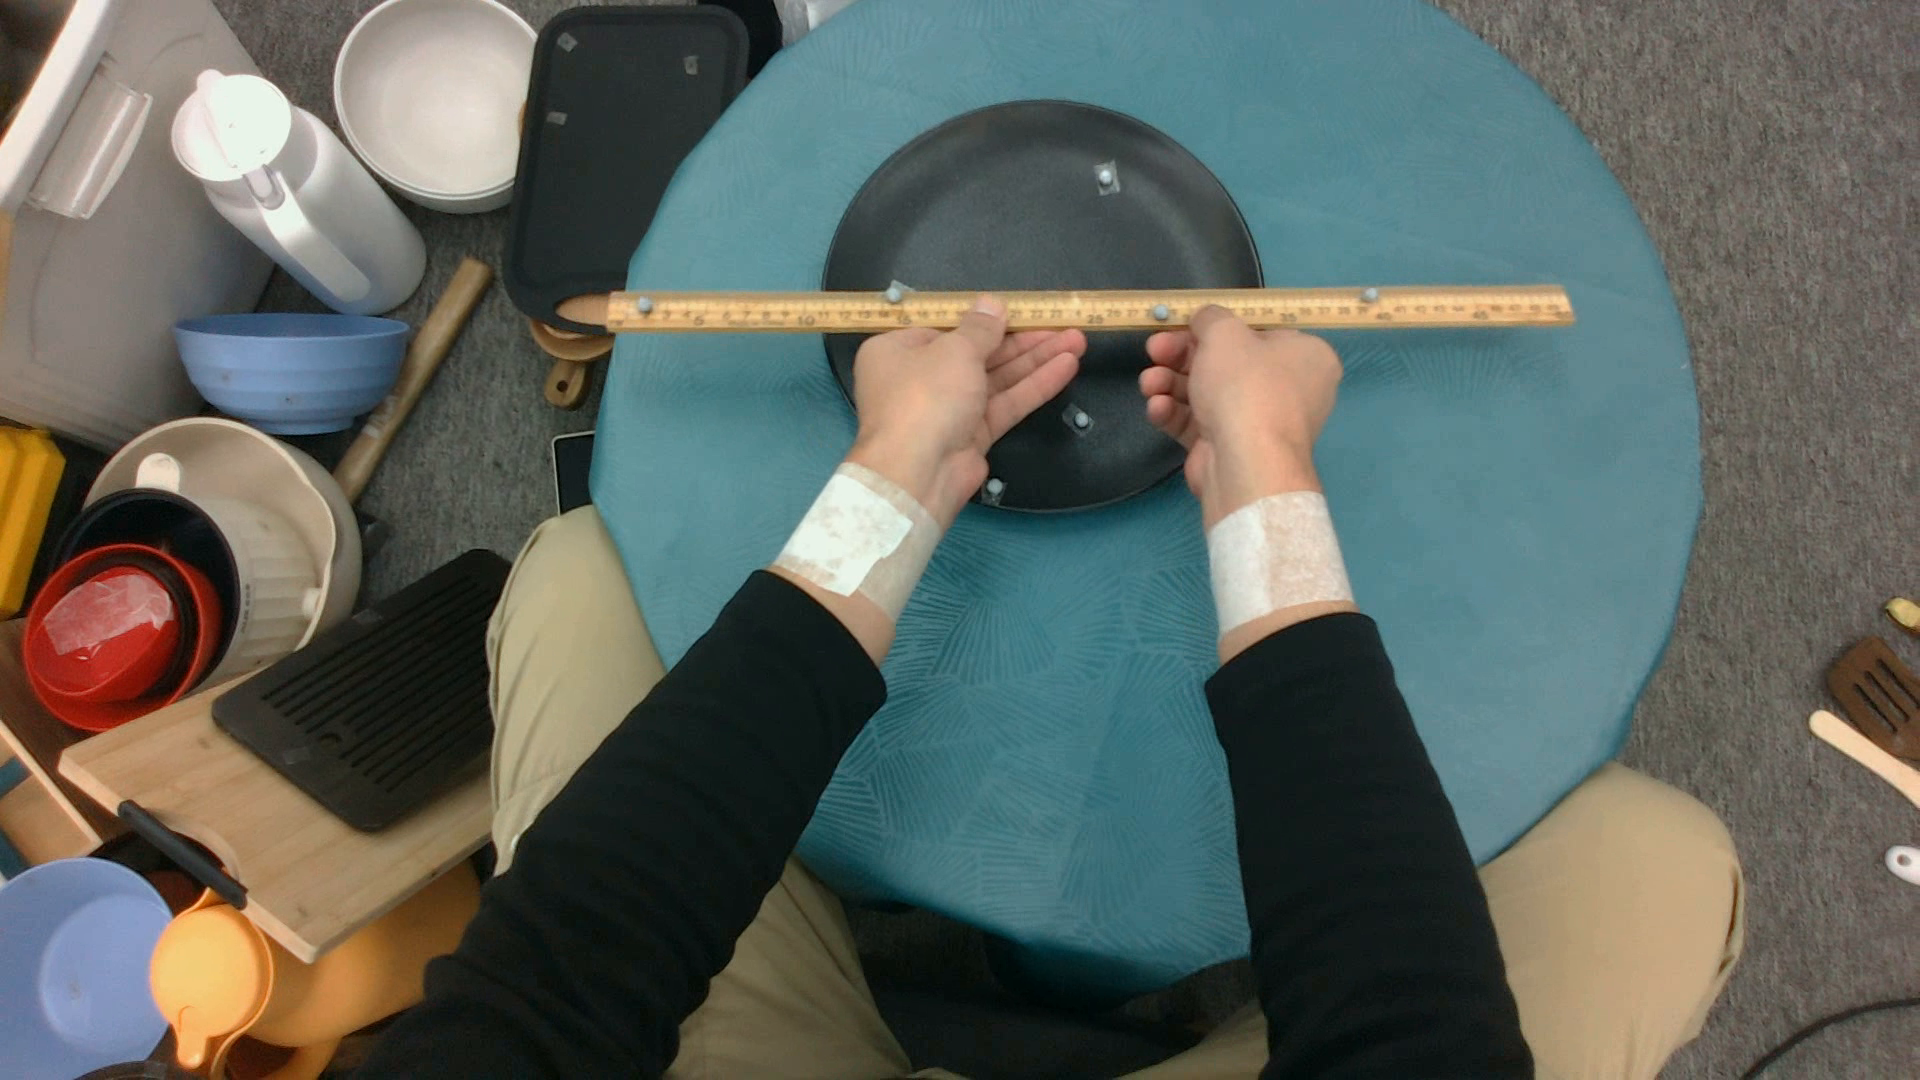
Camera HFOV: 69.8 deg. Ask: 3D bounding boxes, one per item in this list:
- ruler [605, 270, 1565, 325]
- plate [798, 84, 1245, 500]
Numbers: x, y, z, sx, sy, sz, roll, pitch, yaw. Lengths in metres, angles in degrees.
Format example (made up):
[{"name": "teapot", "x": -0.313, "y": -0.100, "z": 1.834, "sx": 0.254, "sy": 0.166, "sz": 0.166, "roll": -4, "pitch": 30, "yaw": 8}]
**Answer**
[{"name": "ruler", "x": 0.069, "y": -0.126, "z": 0.716, "sx": 0.500, "sy": 0.006, "sz": 0.027, "roll": 0, "pitch": 59, "yaw": -3}, {"name": "plate", "x": 0.034, "y": -0.137, "z": 0.757, "sx": 0.244, "sy": 0.023, "sz": 0.245, "roll": 0, "pitch": 76, "yaw": 0}]
